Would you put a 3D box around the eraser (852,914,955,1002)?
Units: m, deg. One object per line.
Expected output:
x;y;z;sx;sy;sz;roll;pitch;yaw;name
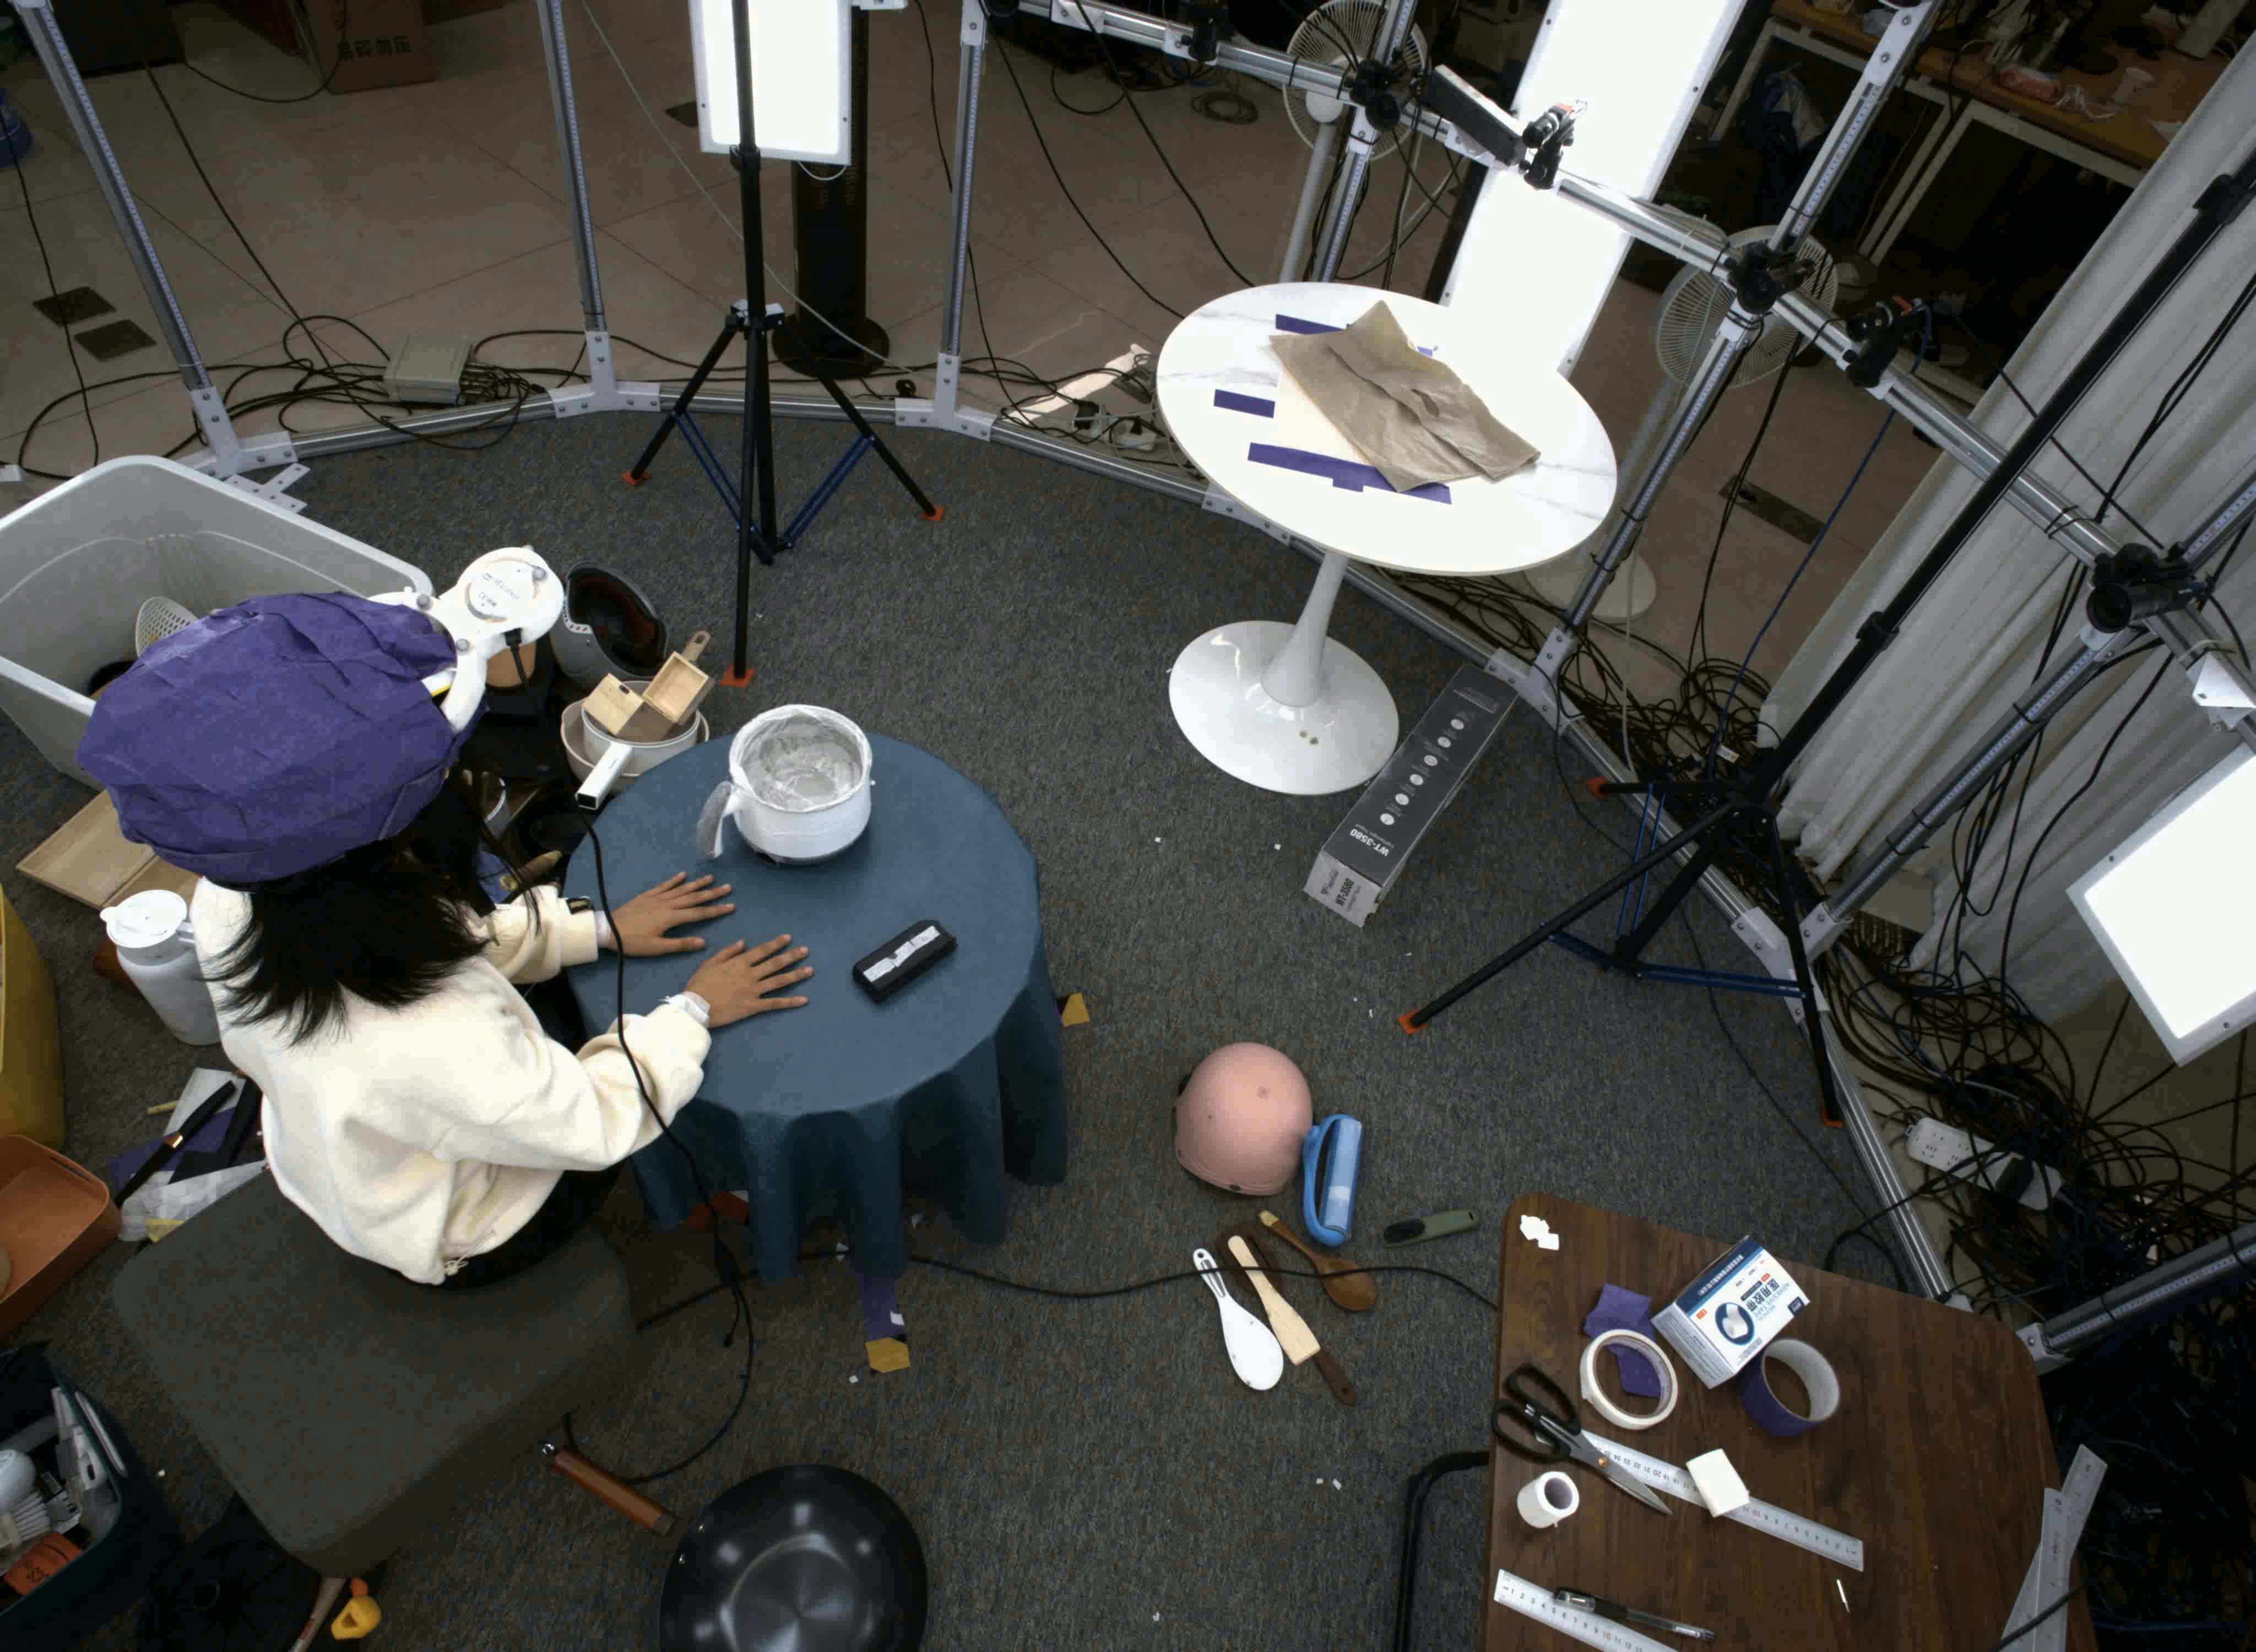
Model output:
-0.278;0.161;1.619;0.052;0.031;0.126;42;56;19;eraser

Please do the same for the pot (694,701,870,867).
-0.444;-0.041;1.654;0.235;0.139;0.174;-28;63;-31;pot
